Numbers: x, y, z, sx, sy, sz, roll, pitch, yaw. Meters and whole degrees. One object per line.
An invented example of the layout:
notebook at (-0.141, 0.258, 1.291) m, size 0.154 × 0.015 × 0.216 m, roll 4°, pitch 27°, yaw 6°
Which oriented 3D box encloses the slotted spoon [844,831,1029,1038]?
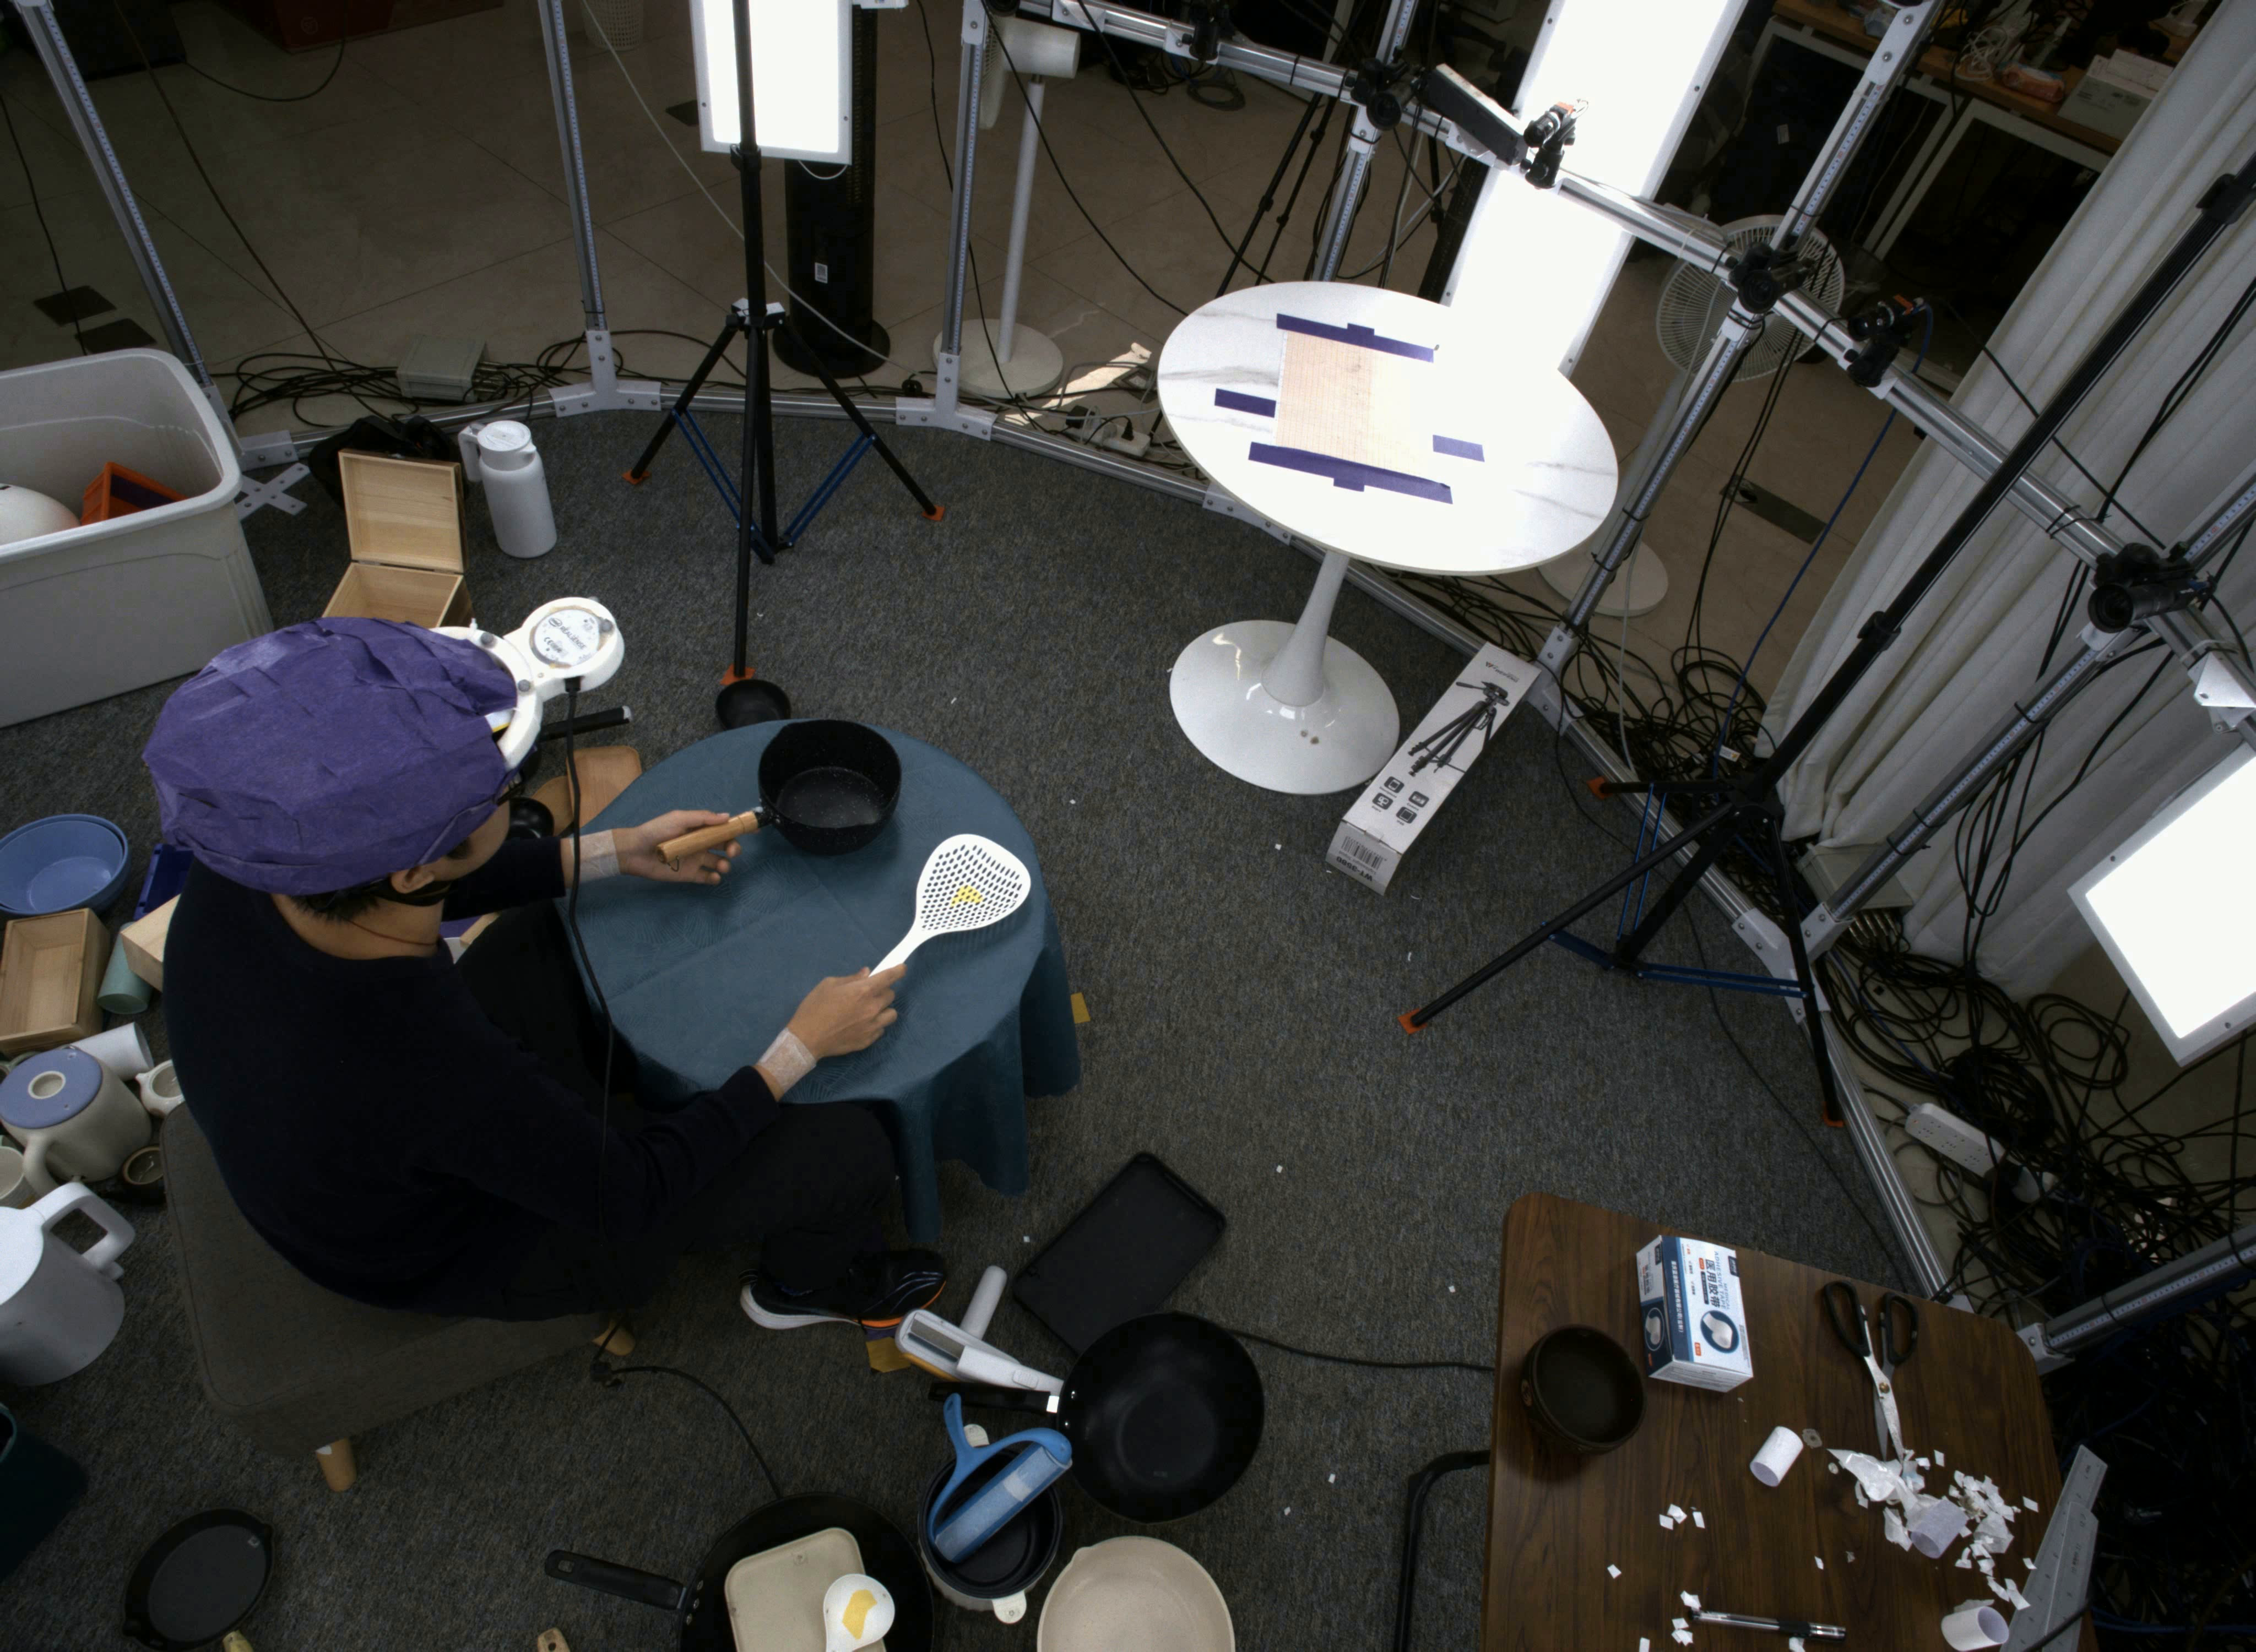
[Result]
slotted spoon at (-0.249, 0.130, 1.613) m, size 0.135 × 0.051 × 0.346 m, roll 34°, pitch 42°, yaw 5°

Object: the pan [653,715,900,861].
pan at (-0.447, -0.017, 1.650) m, size 0.203 × 0.110 × 0.344 m, roll 44°, pitch 54°, yaw 18°
